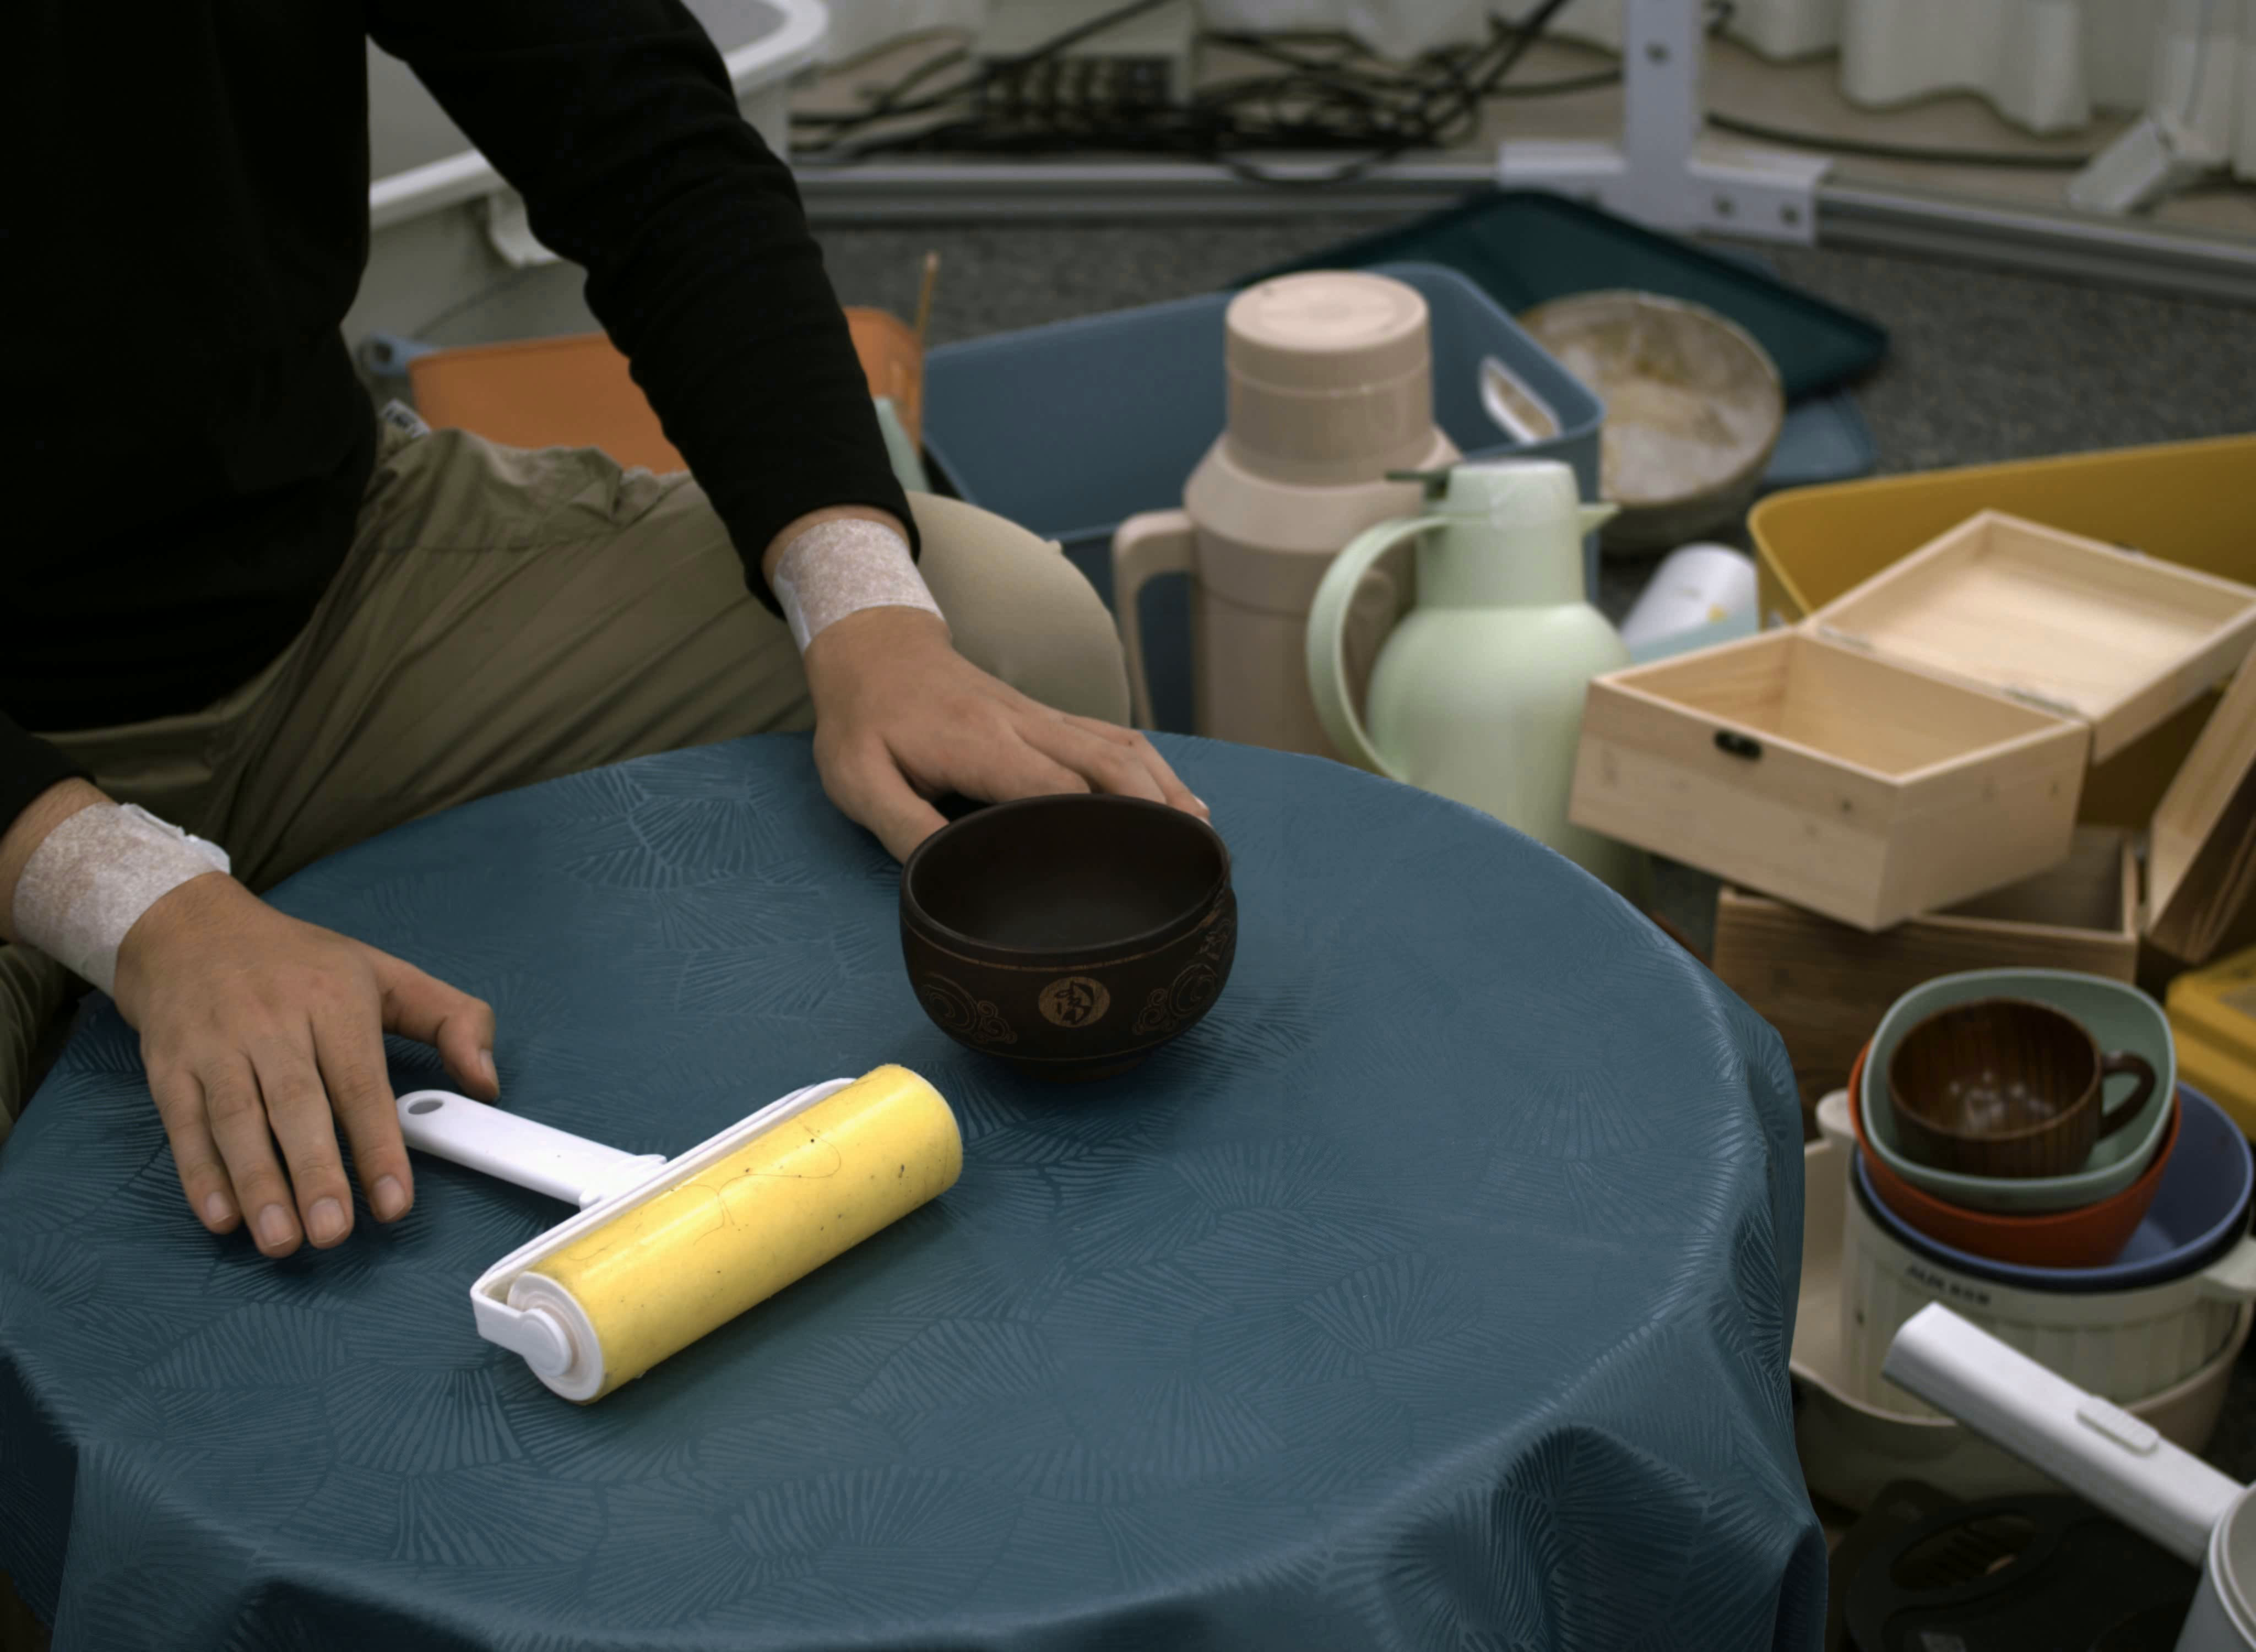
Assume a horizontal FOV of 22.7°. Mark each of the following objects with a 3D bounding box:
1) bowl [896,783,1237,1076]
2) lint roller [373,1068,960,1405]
[{"bbox_3d":[-0.021,0.042,1.936,0.117,0.069,0.120,-1,28,1],"label":"bowl"},{"bbox_3d":[-0.179,0.109,1.847,0.192,0.051,0.176,24,37,34],"label":"lint roller"}]
